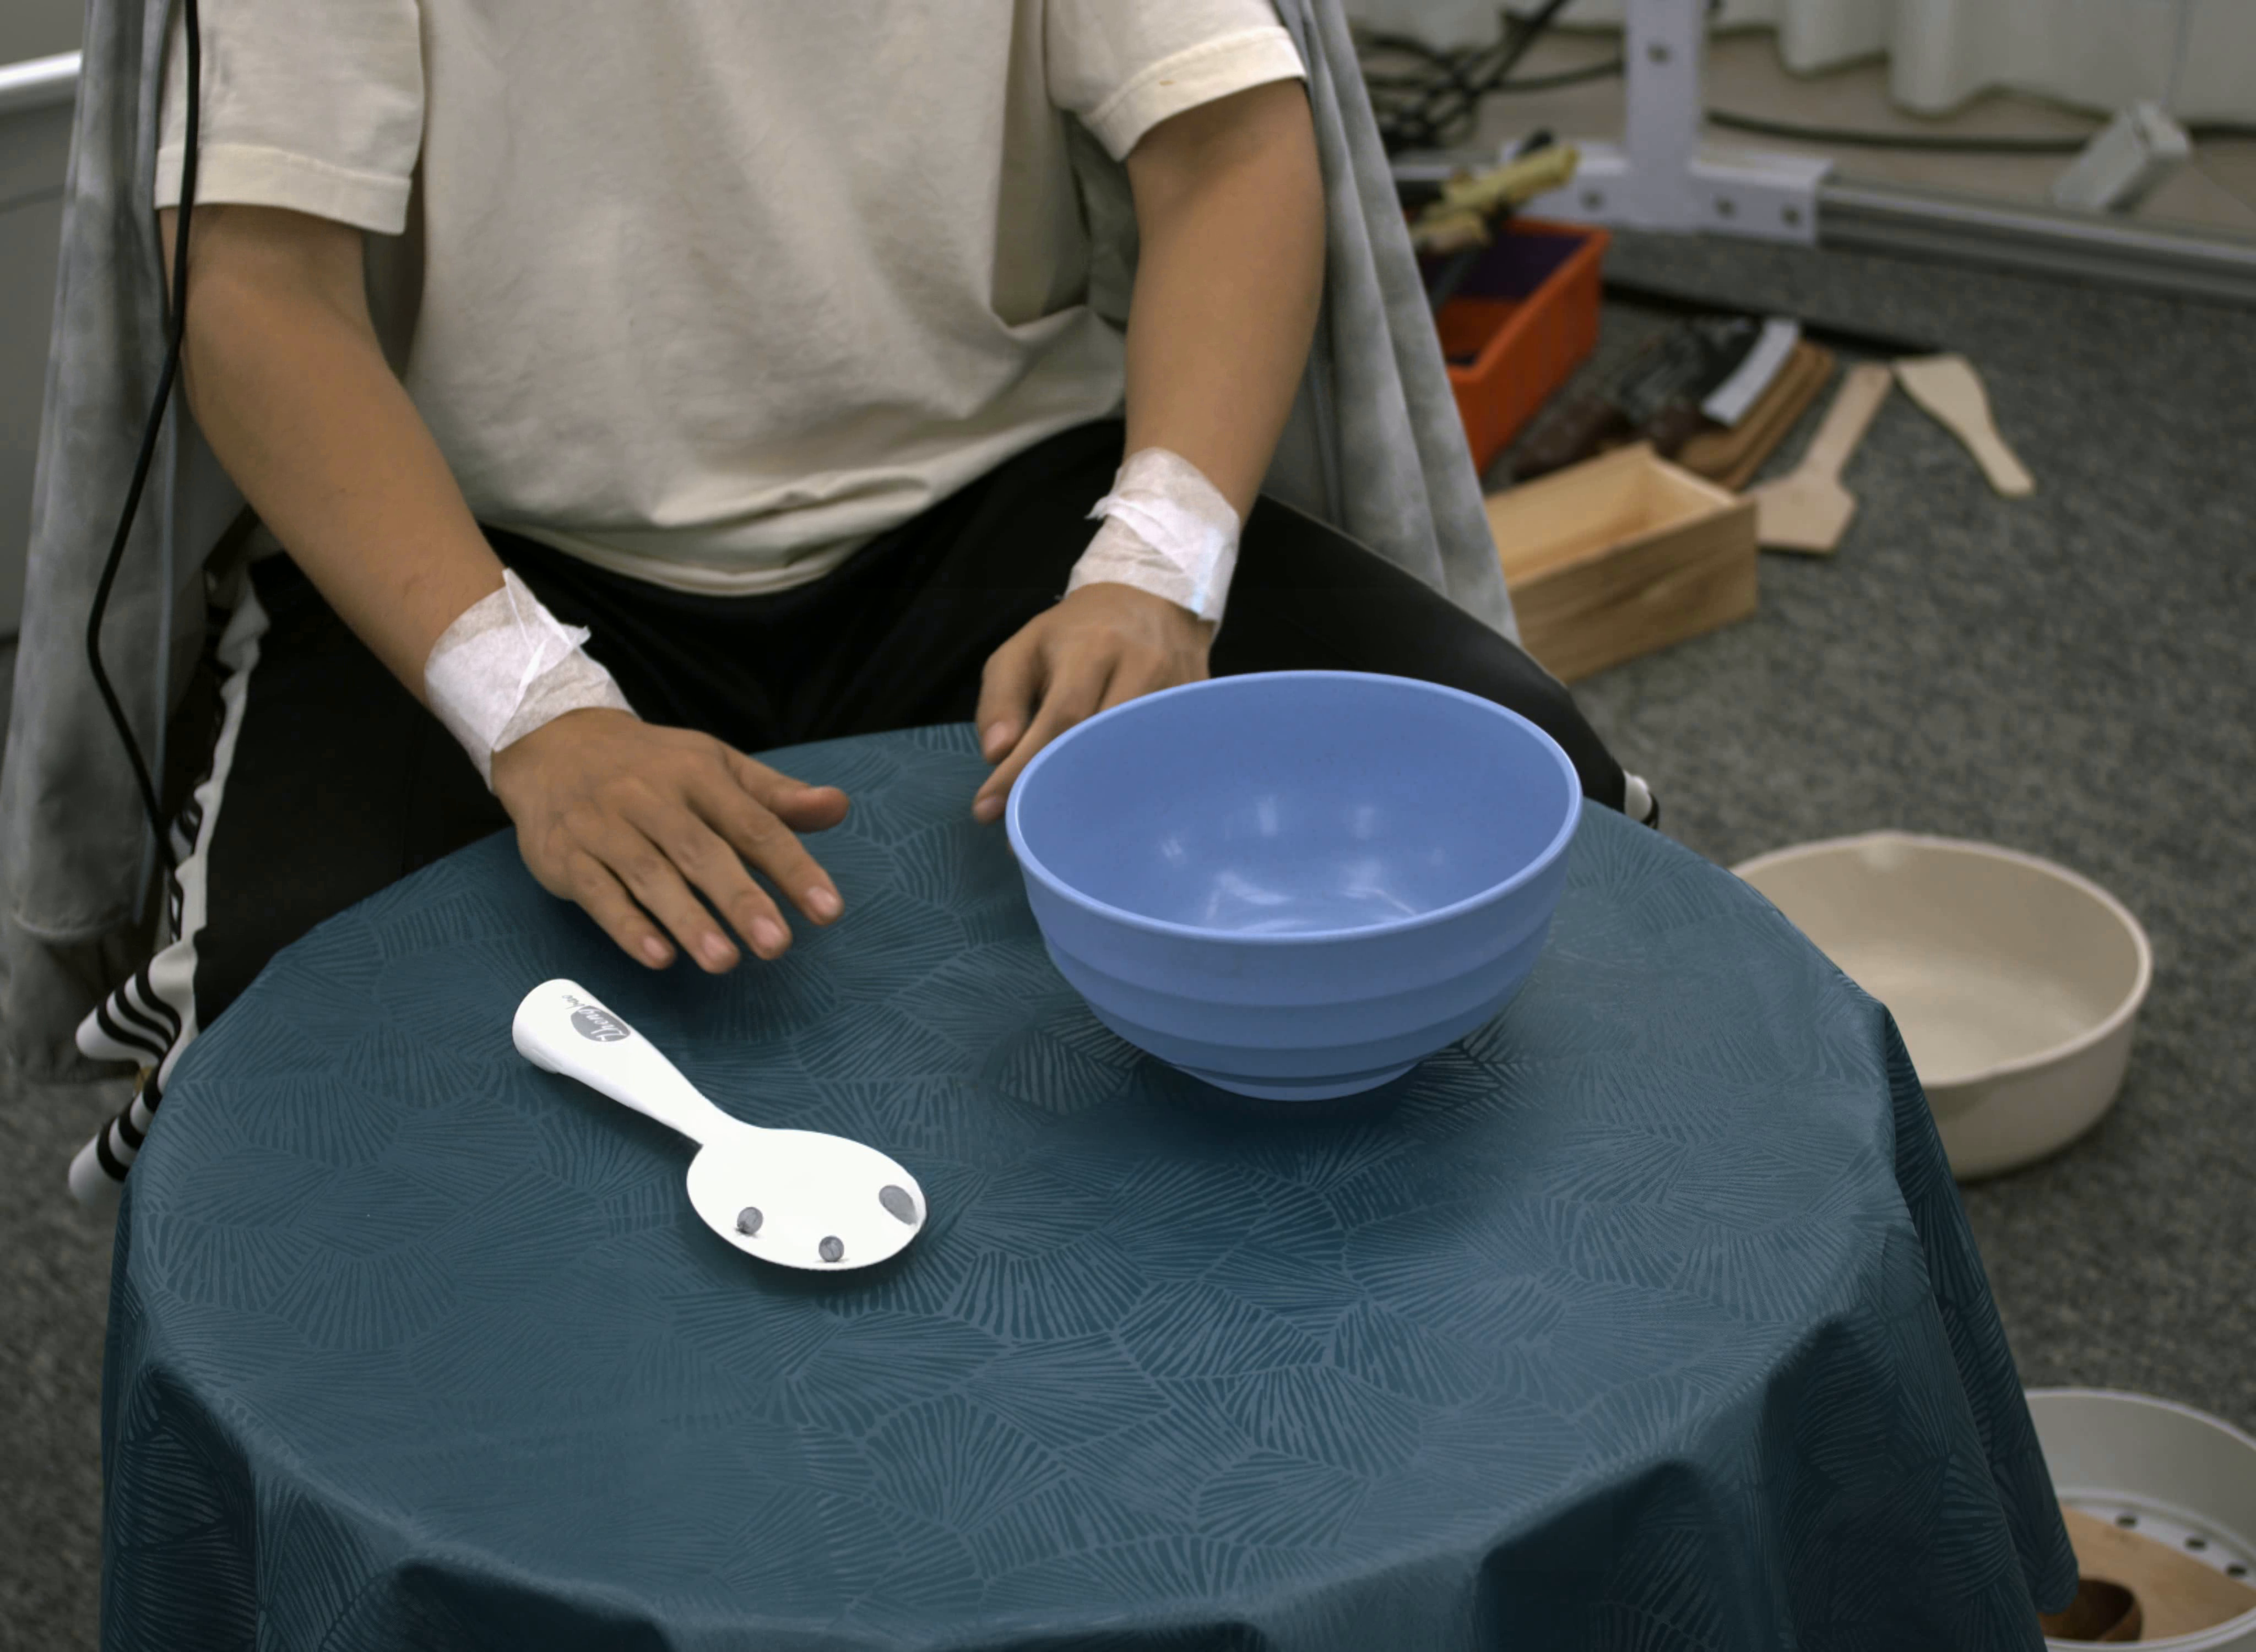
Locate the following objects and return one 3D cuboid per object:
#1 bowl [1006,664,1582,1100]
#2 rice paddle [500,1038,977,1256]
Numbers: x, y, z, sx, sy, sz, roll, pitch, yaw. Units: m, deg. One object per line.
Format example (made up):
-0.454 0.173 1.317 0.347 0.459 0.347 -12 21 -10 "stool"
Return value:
0.058 0.030 1.927 0.195 0.094 0.199 -3 29 2 "bowl"
-0.131 0.110 1.874 0.204 0.029 0.069 17 20 40 "rice paddle"
